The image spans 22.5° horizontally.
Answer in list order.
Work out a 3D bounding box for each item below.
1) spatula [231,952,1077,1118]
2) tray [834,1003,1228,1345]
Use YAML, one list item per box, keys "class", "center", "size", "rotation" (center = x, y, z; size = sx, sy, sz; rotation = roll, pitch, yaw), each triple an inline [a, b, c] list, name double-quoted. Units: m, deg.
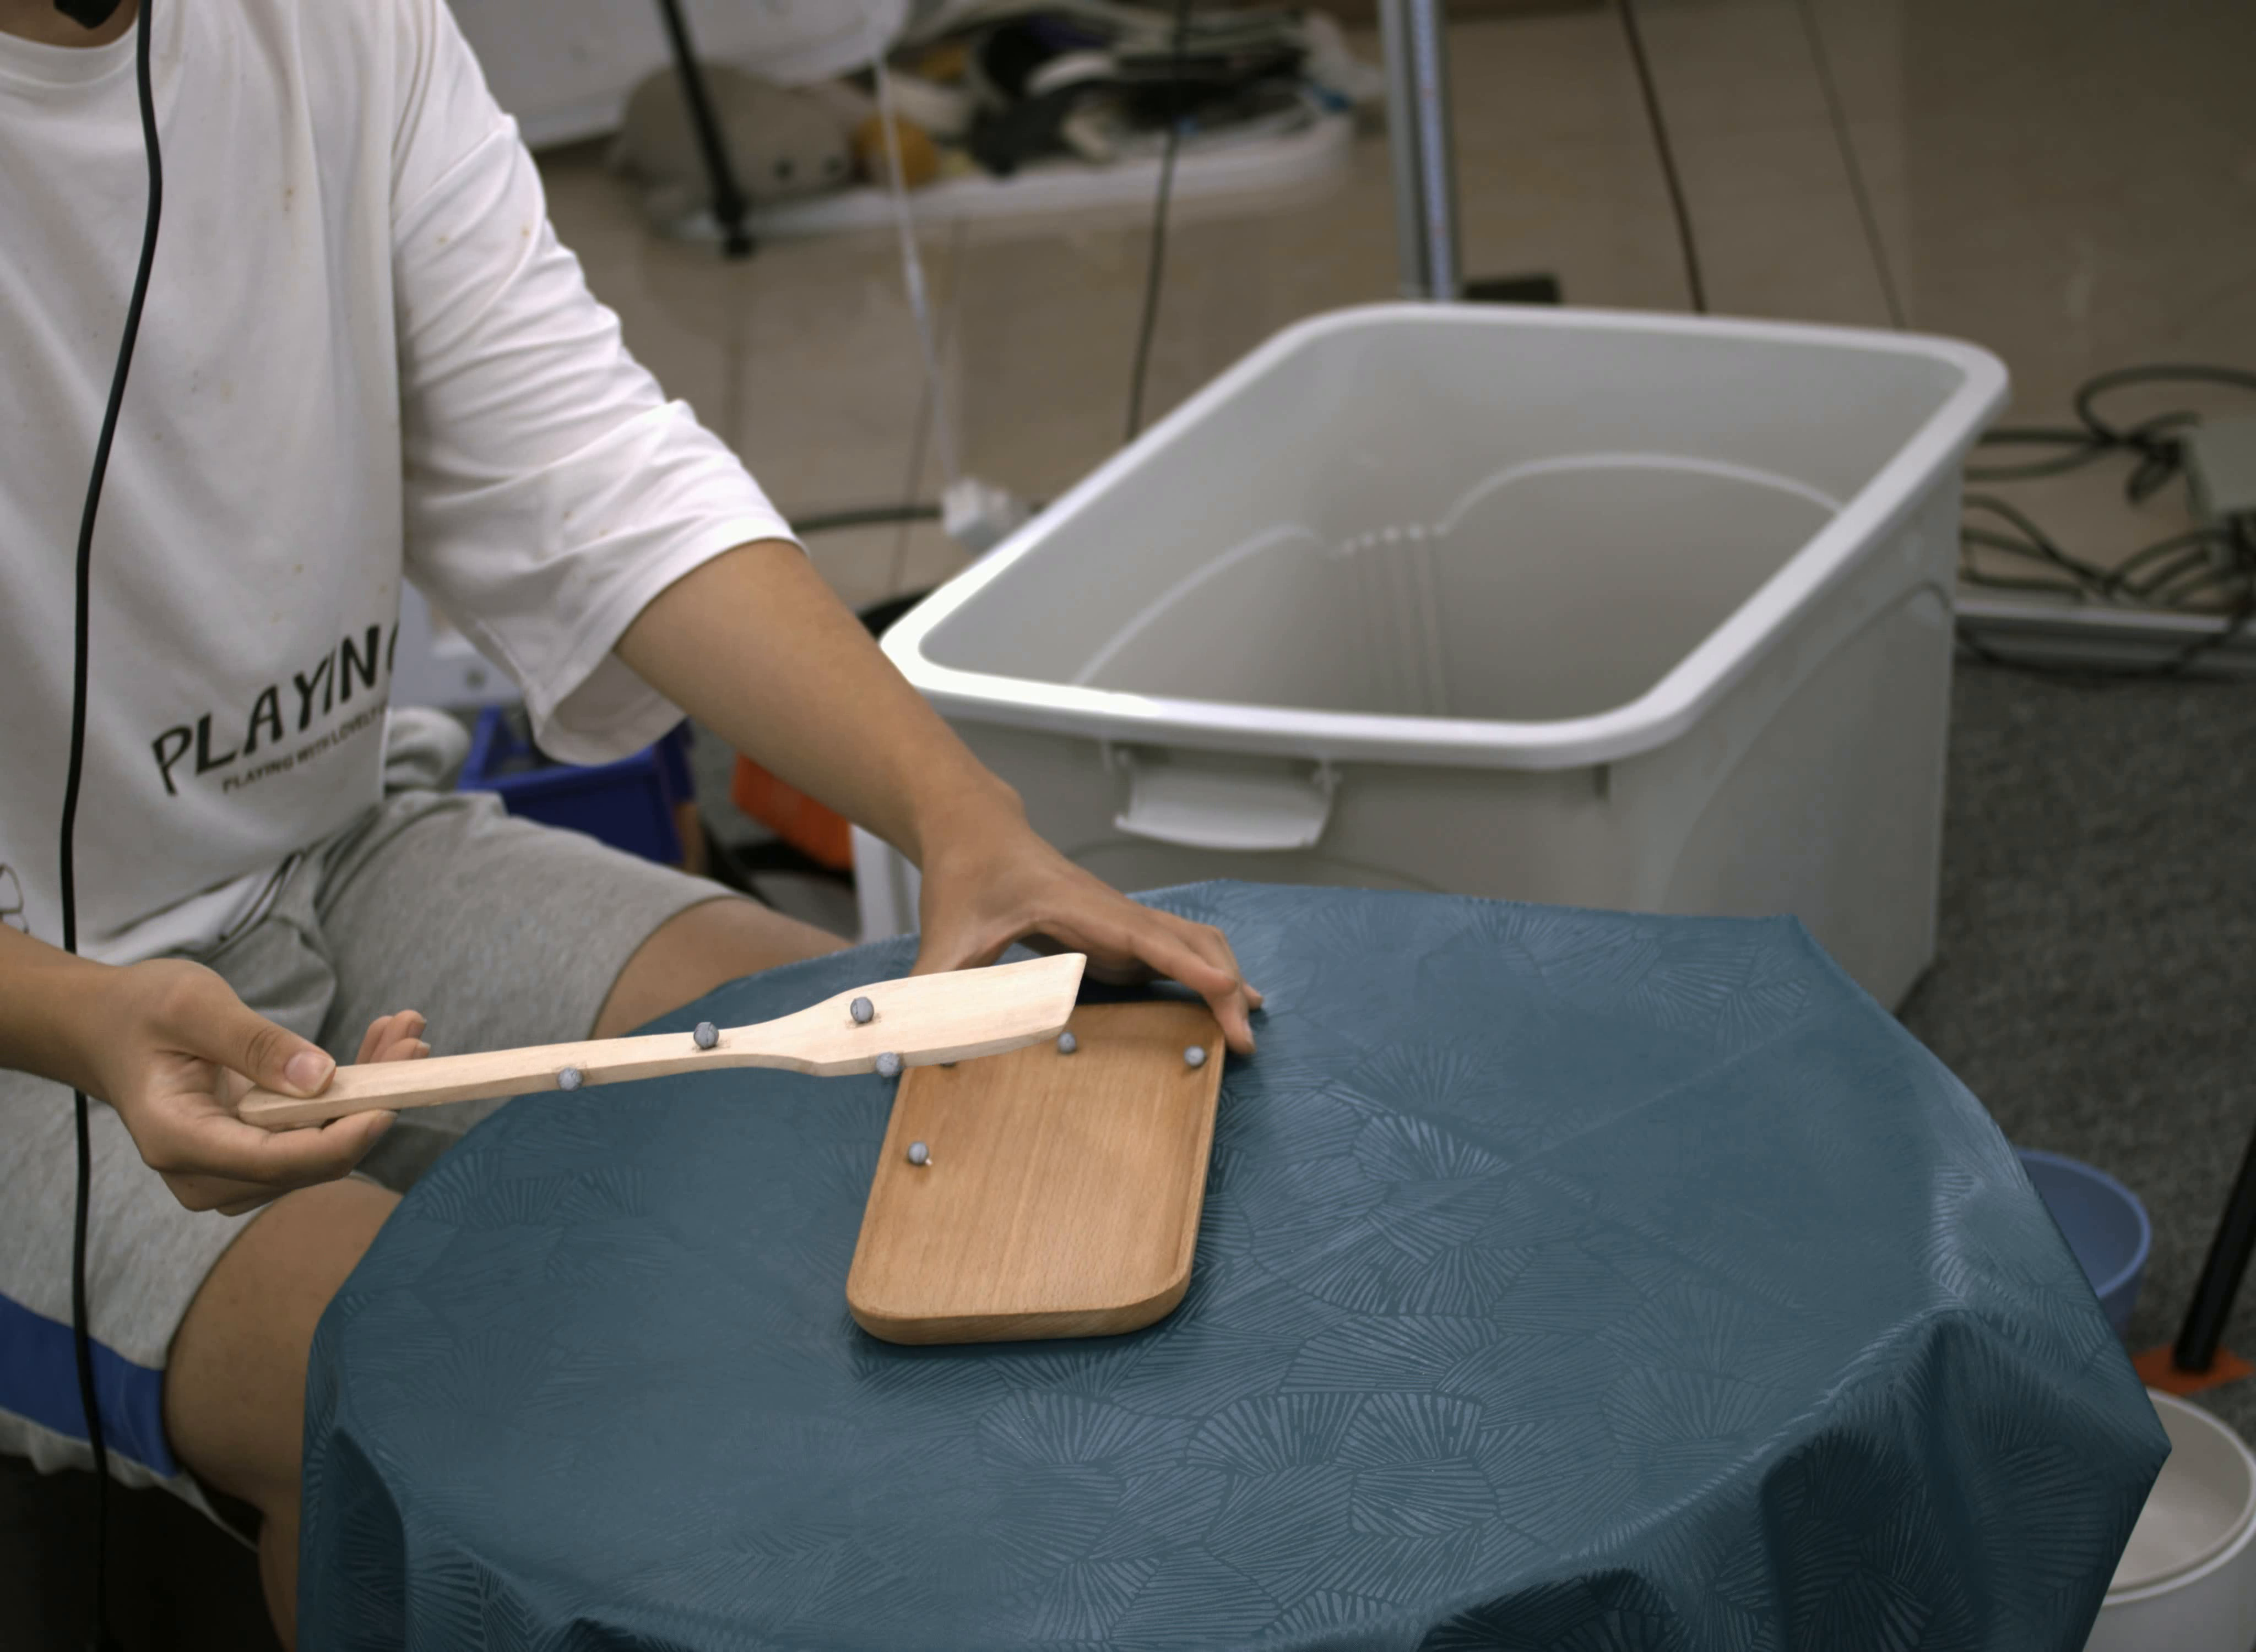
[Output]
- class: "spatula"
  center: [-0.162, 0.075, 1.911]
  size: [0.292, 0.011, 0.071]
  rotation: [-7, 20, 8]
- class: "tray"
  center: [-0.033, 0.130, 2.156]
  size: [0.130, 0.023, 0.247]
  rotation: [-5, 25, 10]
